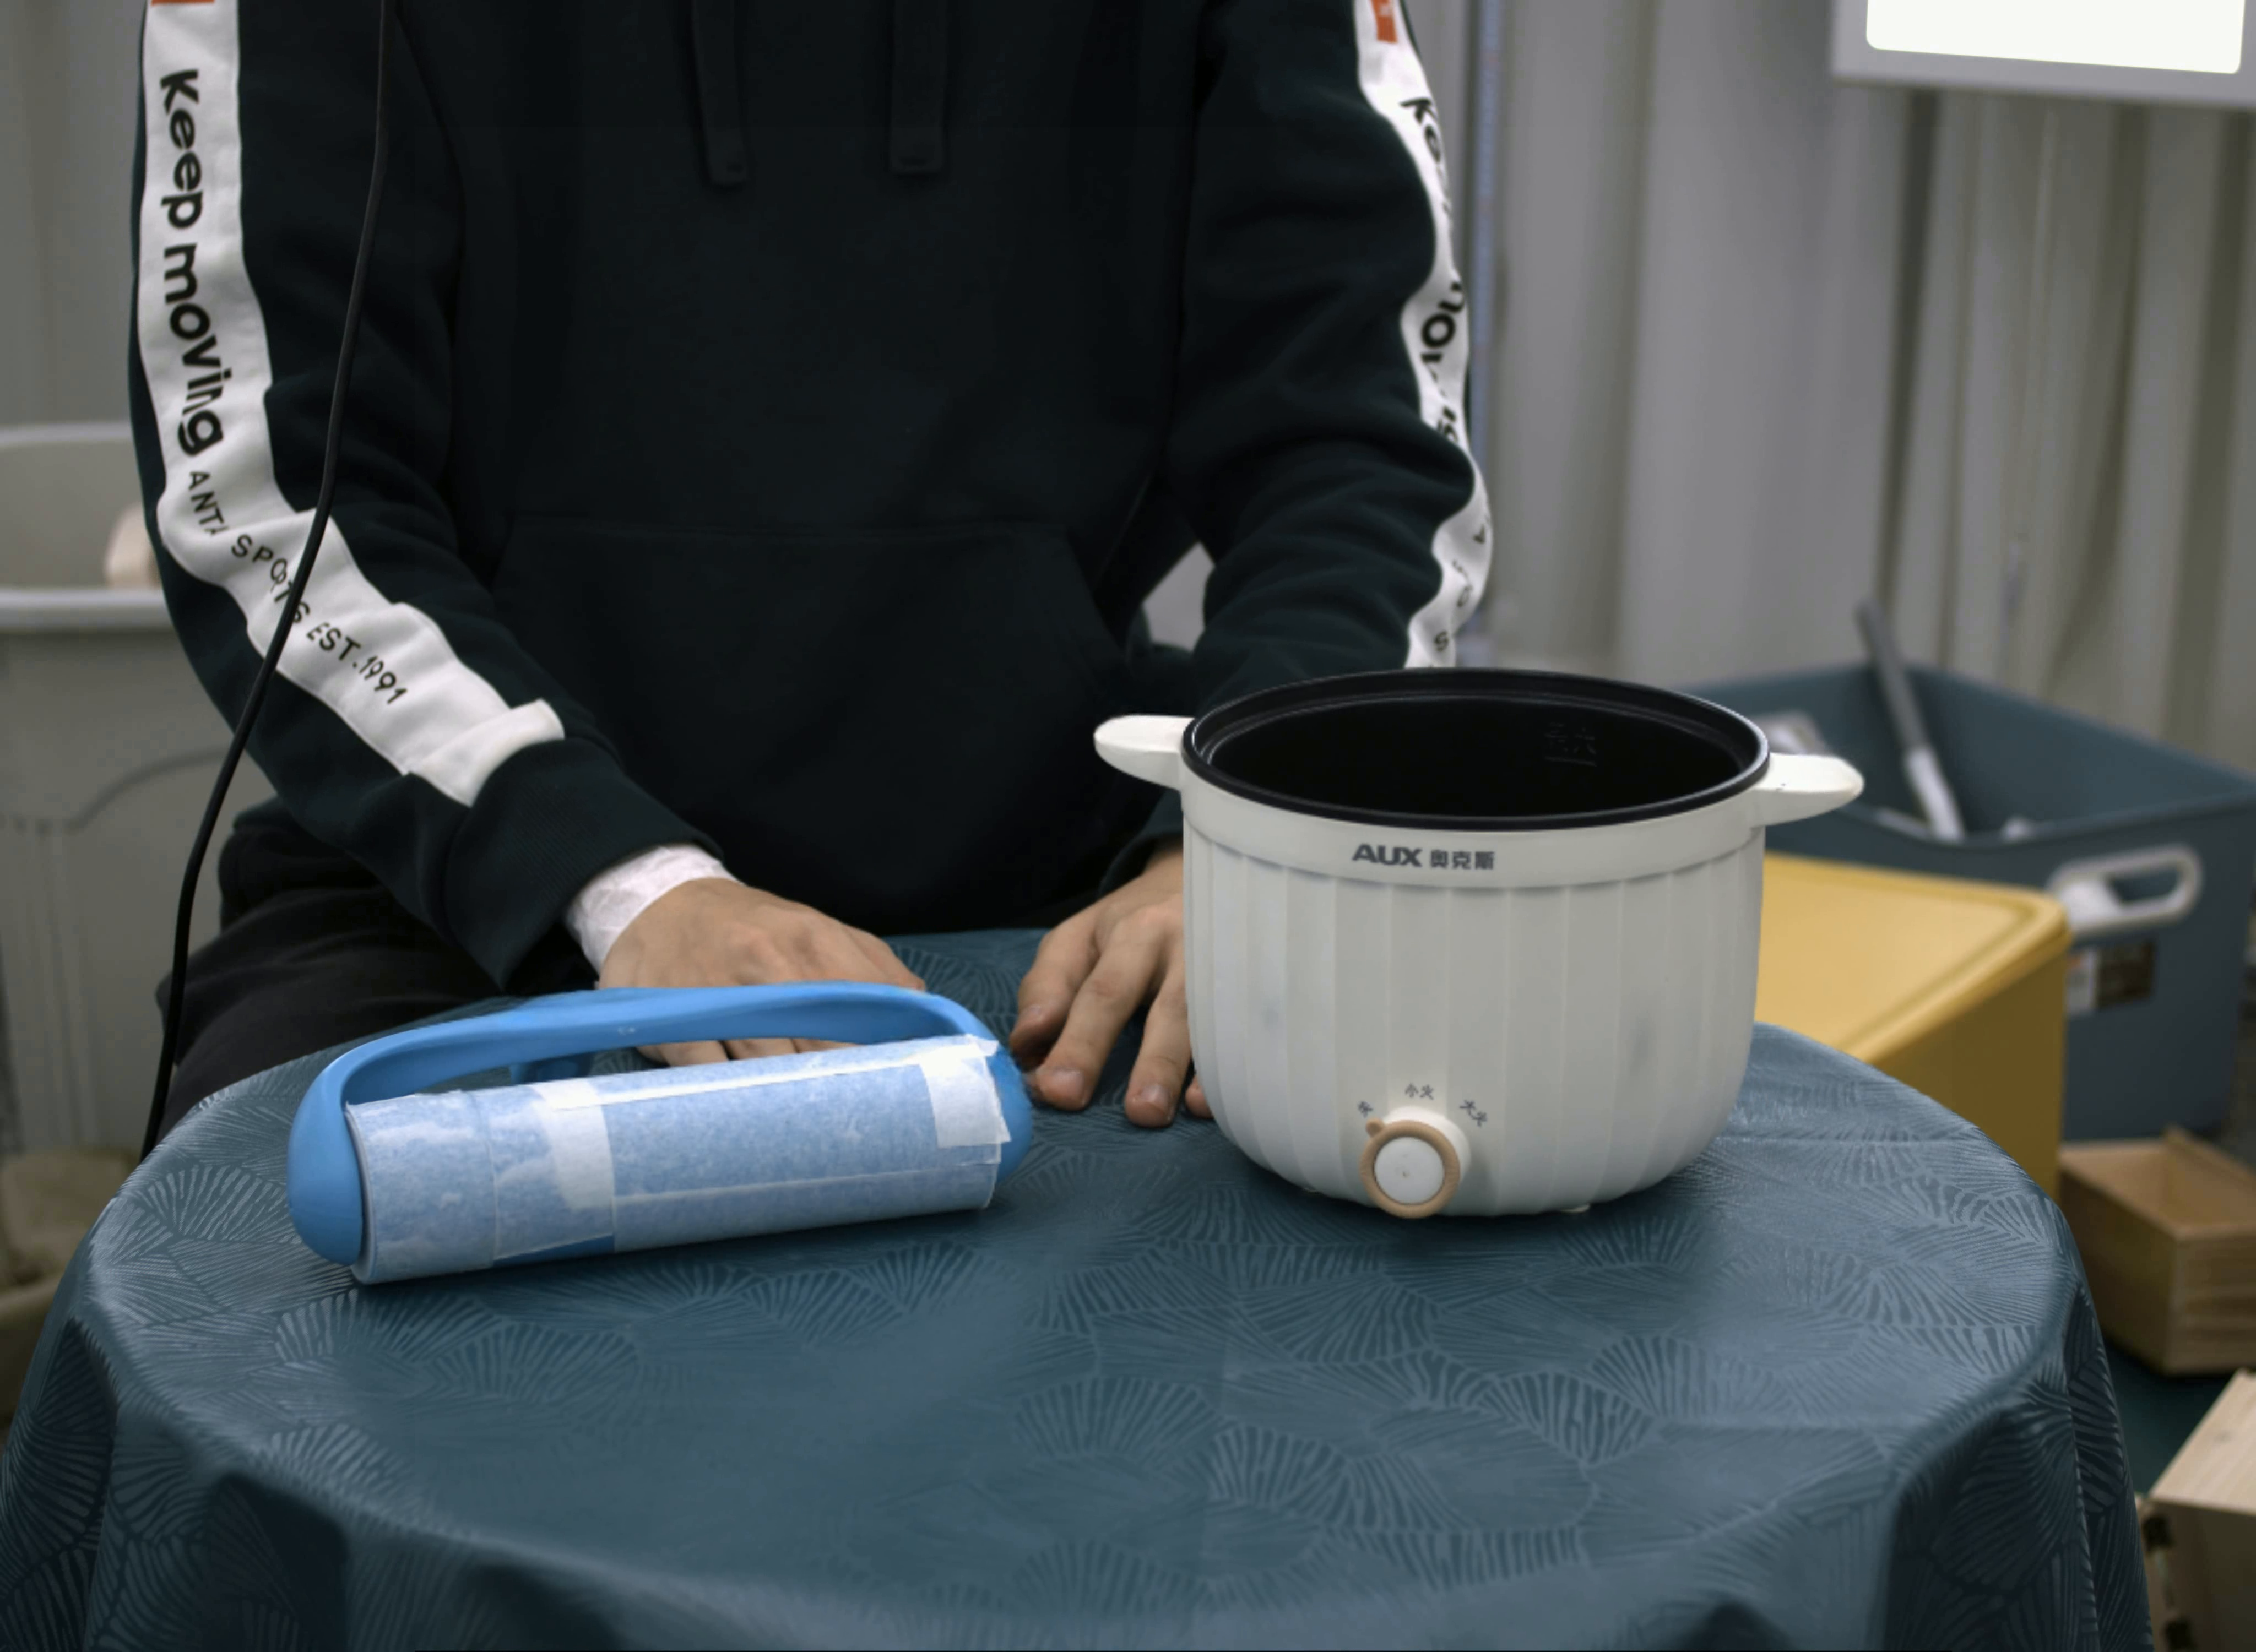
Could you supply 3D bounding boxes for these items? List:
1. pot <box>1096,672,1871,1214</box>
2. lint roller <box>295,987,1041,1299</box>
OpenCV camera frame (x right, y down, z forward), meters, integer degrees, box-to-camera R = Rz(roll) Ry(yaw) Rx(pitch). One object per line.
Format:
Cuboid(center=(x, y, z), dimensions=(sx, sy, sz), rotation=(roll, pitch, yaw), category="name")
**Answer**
Cuboid(center=(0.107, 0.039, 1.627), dimensions=(0.239, 0.143, 0.190), rotation=(2, 13, 12), category="pot")
Cuboid(center=(-0.158, 0.084, 1.613), dimensions=(0.229, 0.068, 0.178), rotation=(-9, 18, -24), category="lint roller")
